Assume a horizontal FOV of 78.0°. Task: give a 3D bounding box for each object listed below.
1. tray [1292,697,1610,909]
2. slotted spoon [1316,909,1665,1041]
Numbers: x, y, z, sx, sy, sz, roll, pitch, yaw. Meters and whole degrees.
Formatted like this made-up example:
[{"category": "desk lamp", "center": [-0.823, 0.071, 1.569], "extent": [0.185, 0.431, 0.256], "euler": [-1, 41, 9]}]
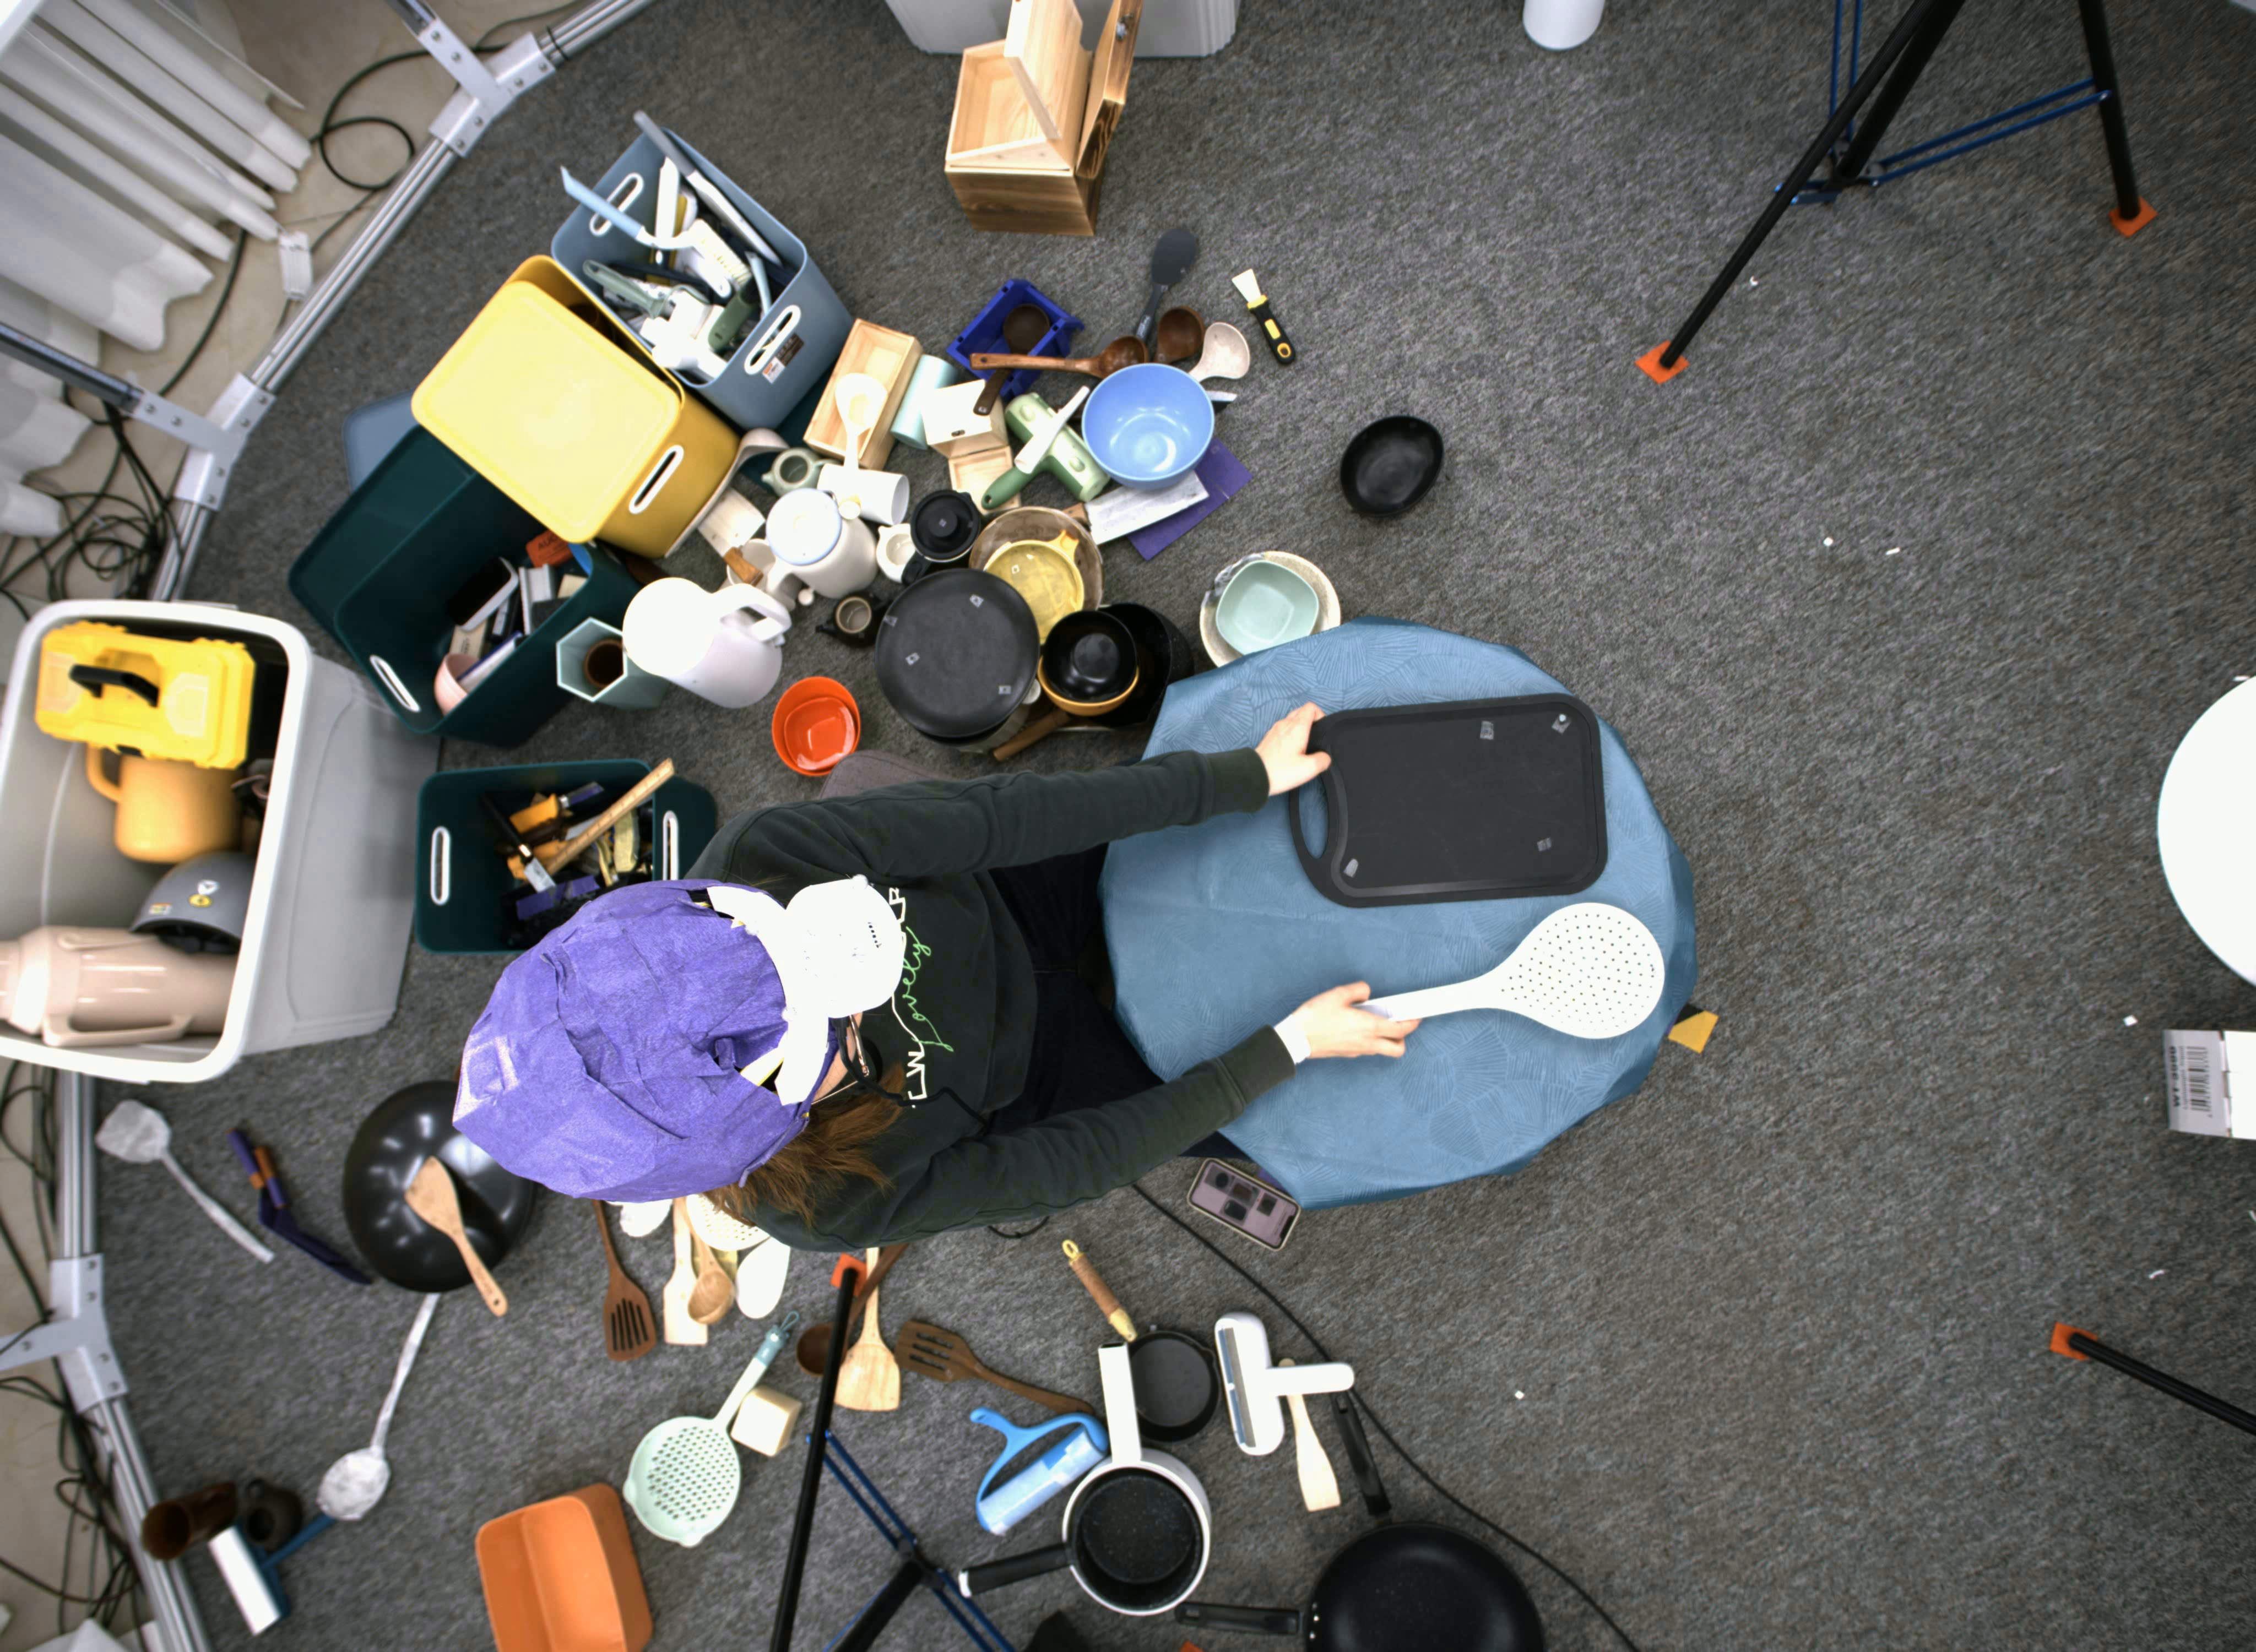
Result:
[{"category": "tray", "center": [0.335, -0.024, 1.440], "extent": [0.327, 0.010, 0.211], "euler": [-4, 94, 9]}, {"category": "slotted spoon", "center": [0.366, 0.170, 1.409], "extent": [0.351, 0.046, 0.134], "euler": [-10, 74, 6]}]
